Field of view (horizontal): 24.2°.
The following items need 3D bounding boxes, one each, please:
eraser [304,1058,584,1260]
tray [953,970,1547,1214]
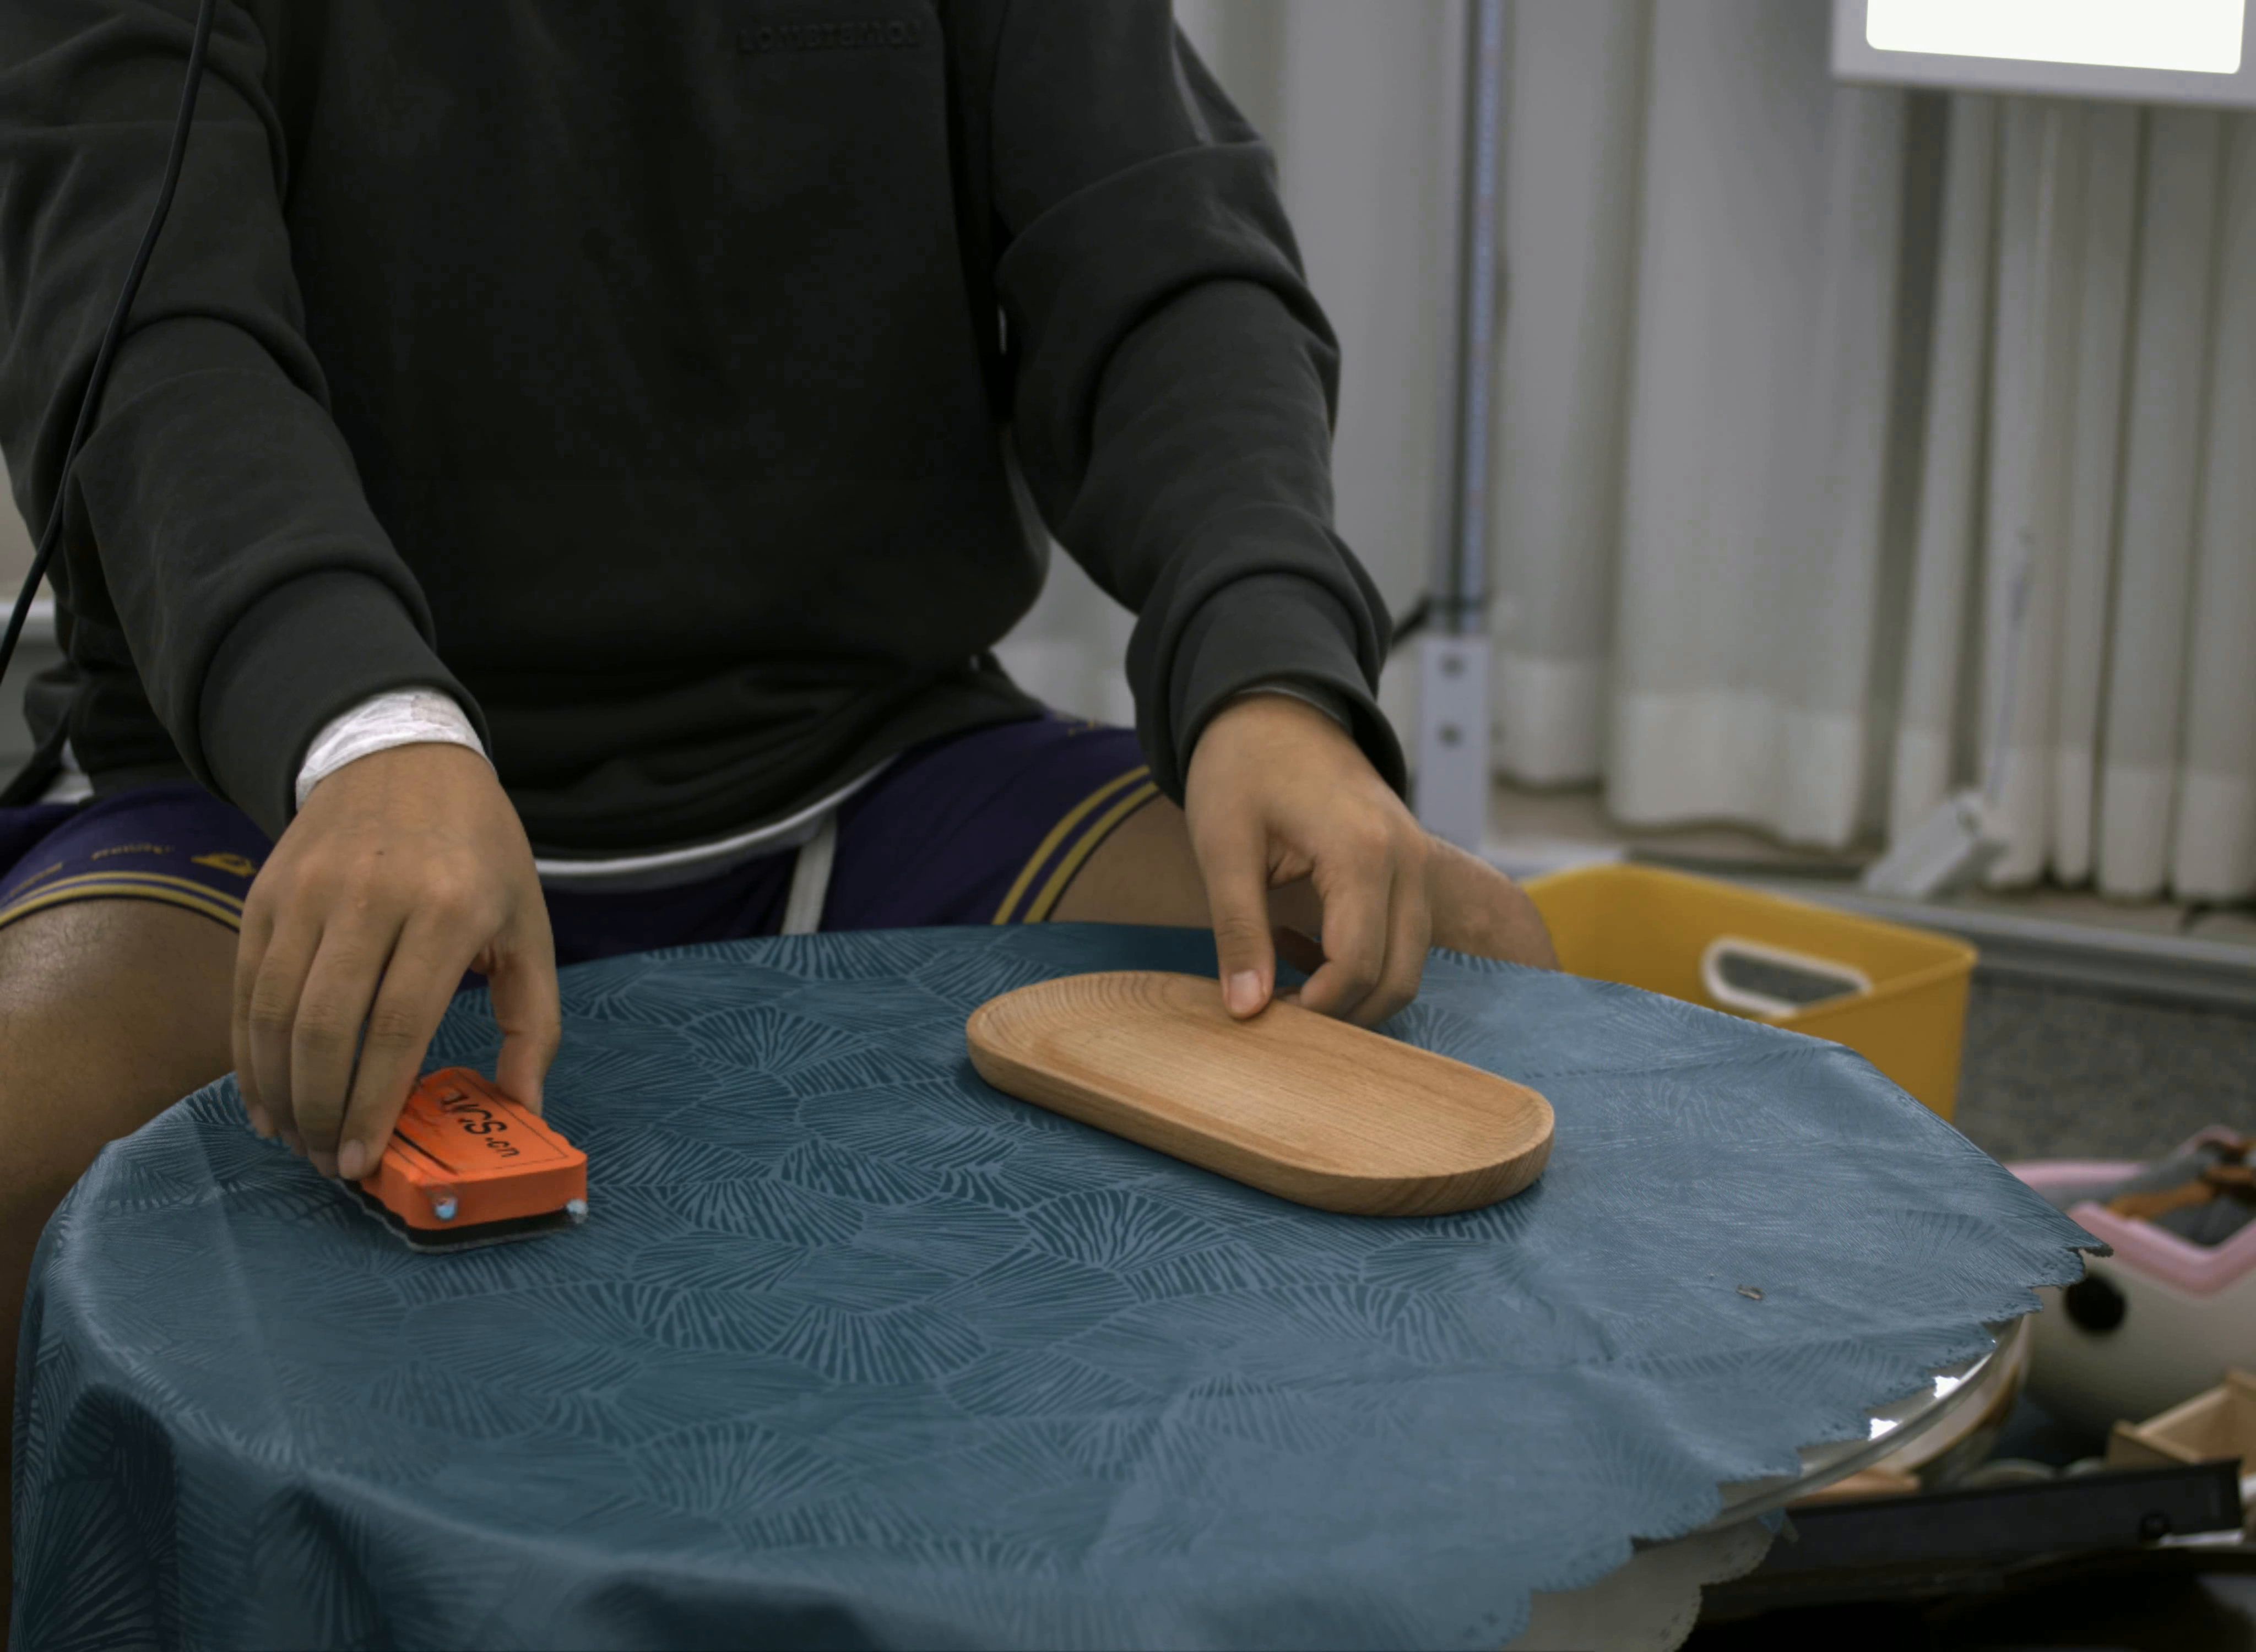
[{"bbox_3d":[-0.210,0.101,1.611,0.059,0.023,0.107,21,3,-30],"label":"eraser"},{"bbox_3d":[0.037,0.084,1.691,0.102,0.020,0.228,-15,21,-40],"label":"tray"}]
